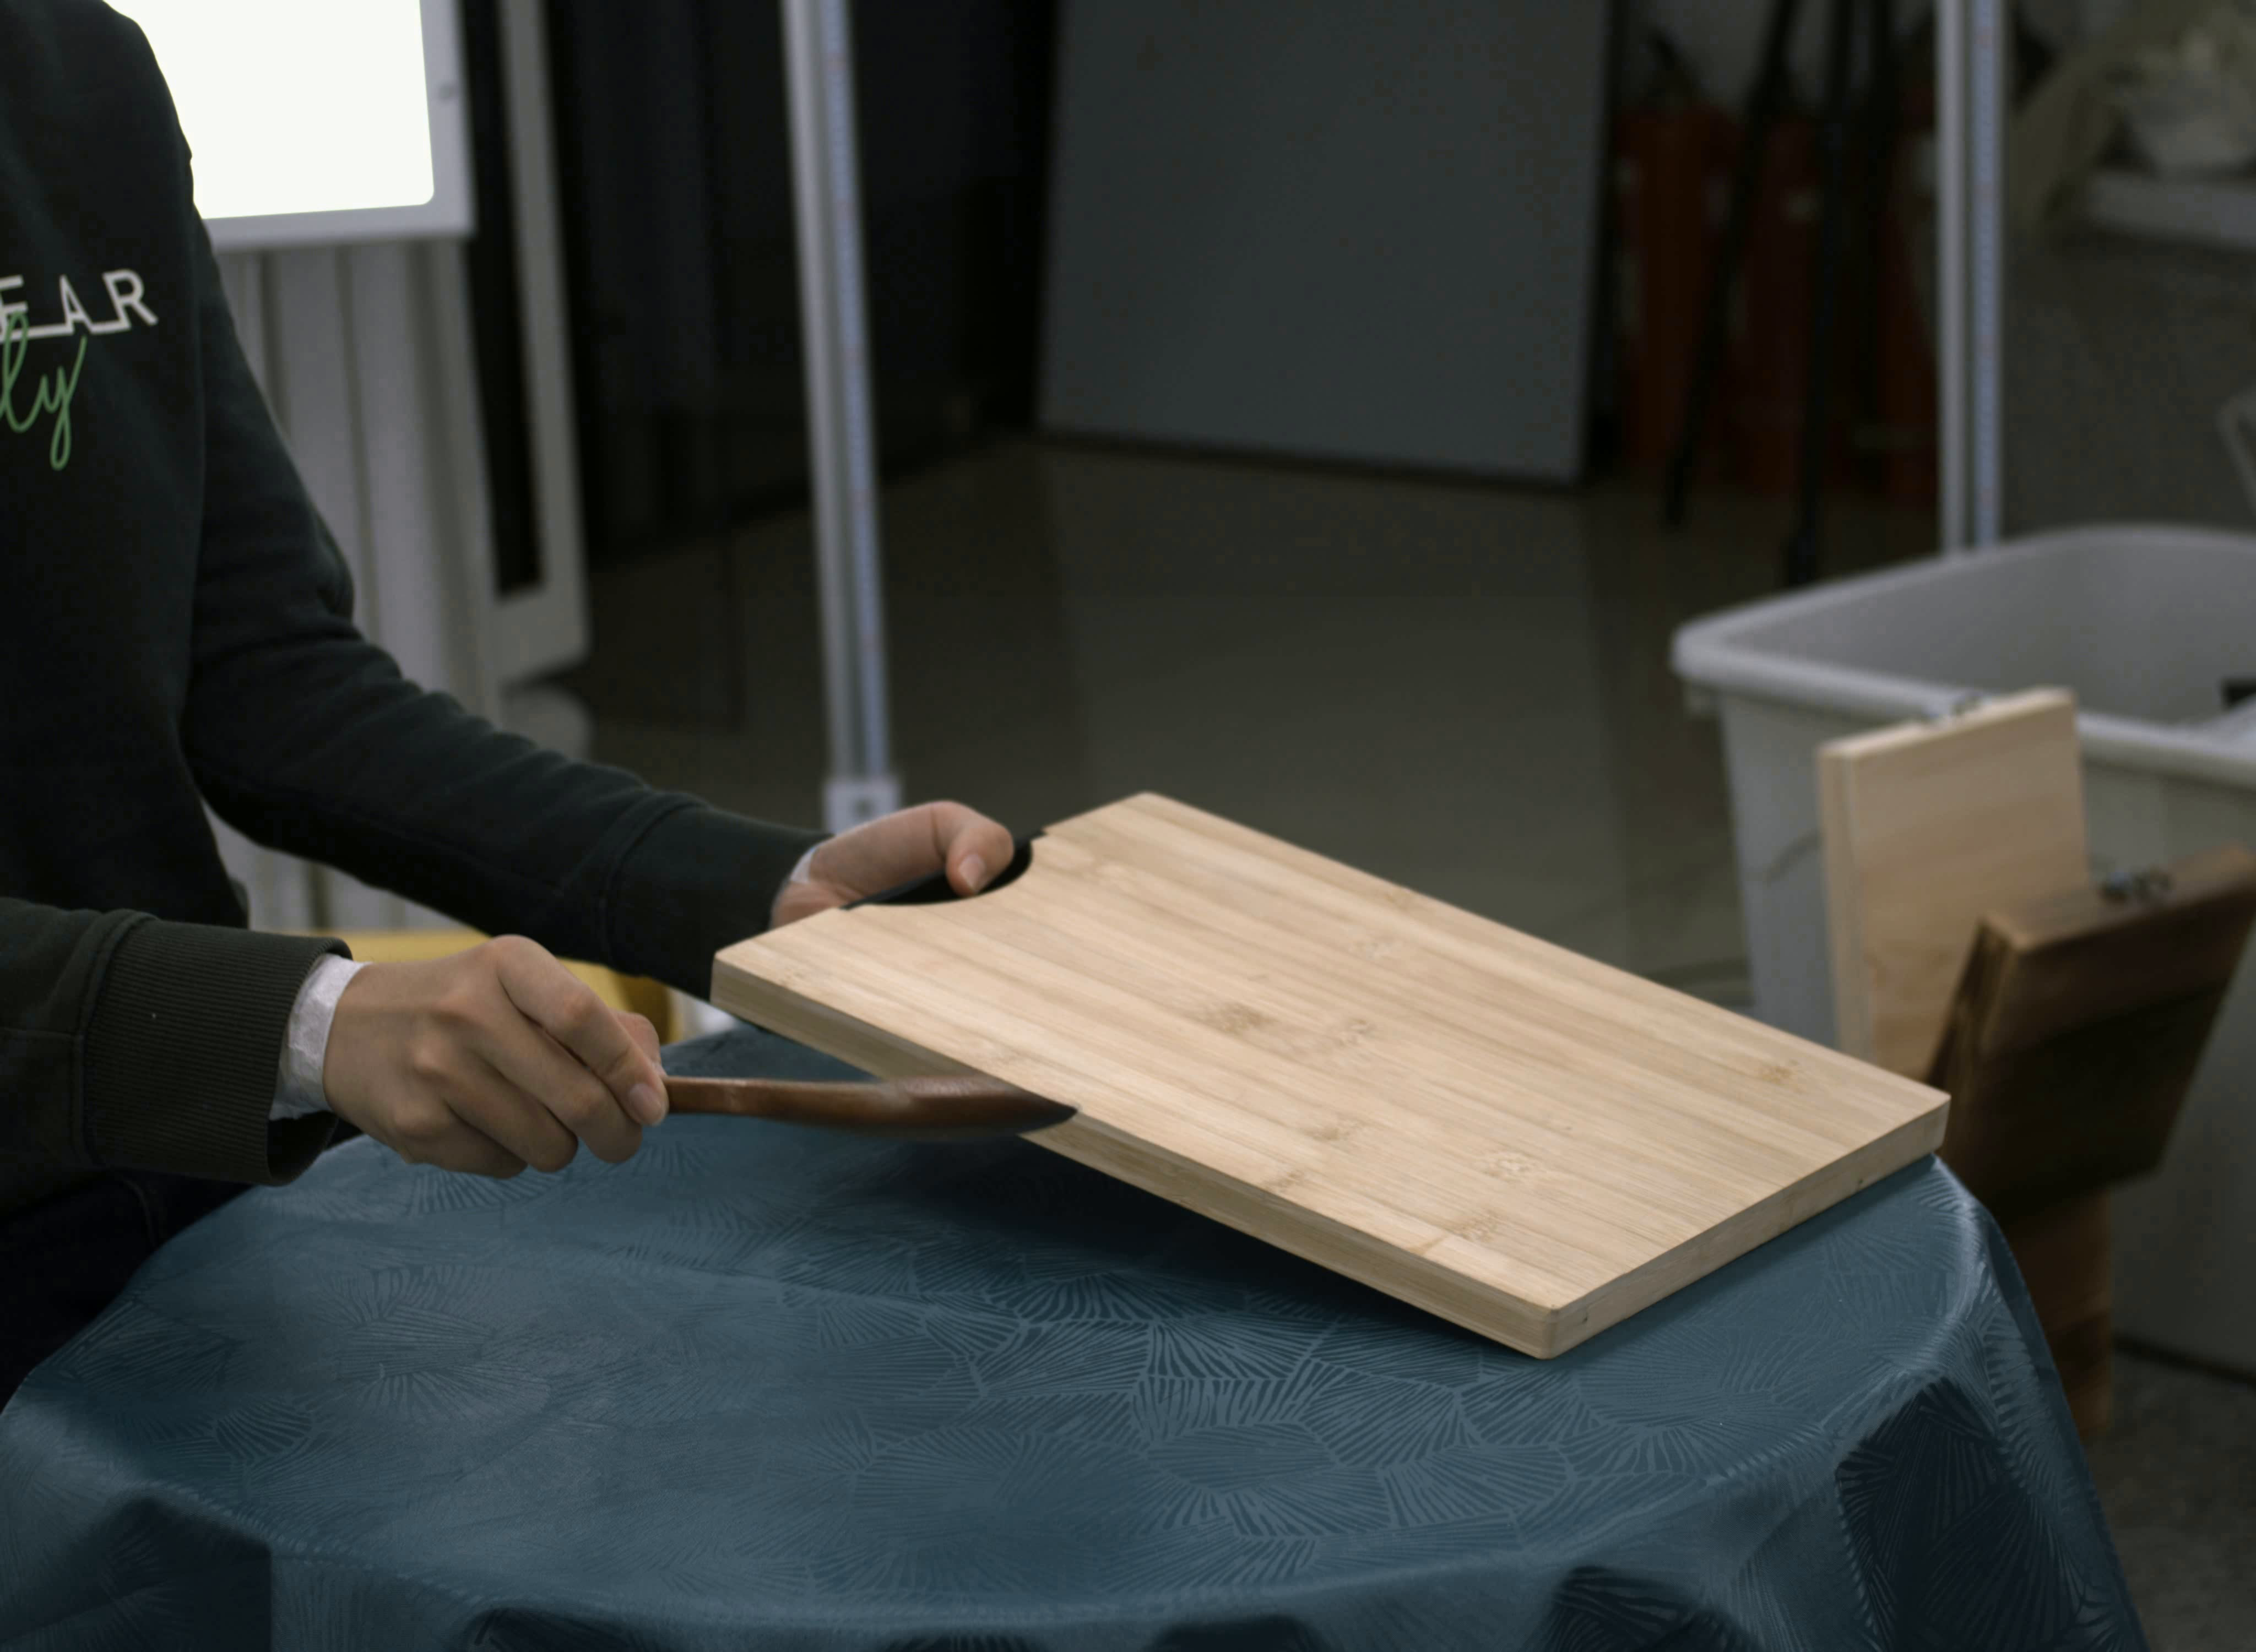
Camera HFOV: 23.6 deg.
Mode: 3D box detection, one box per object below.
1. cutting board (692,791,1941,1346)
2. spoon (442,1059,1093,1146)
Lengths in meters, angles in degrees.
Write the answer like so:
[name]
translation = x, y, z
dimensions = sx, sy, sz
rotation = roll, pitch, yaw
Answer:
[cutting board]
translation = 0.061, 0.072, 1.772
dimensions = 0.351, 0.024, 0.246
rotation = 20, 25, 34
[spoon]
translation = -0.108, 0.080, 1.569
dimensions = 0.216, 0.017, 0.074
rotation = 1, 4, 29
